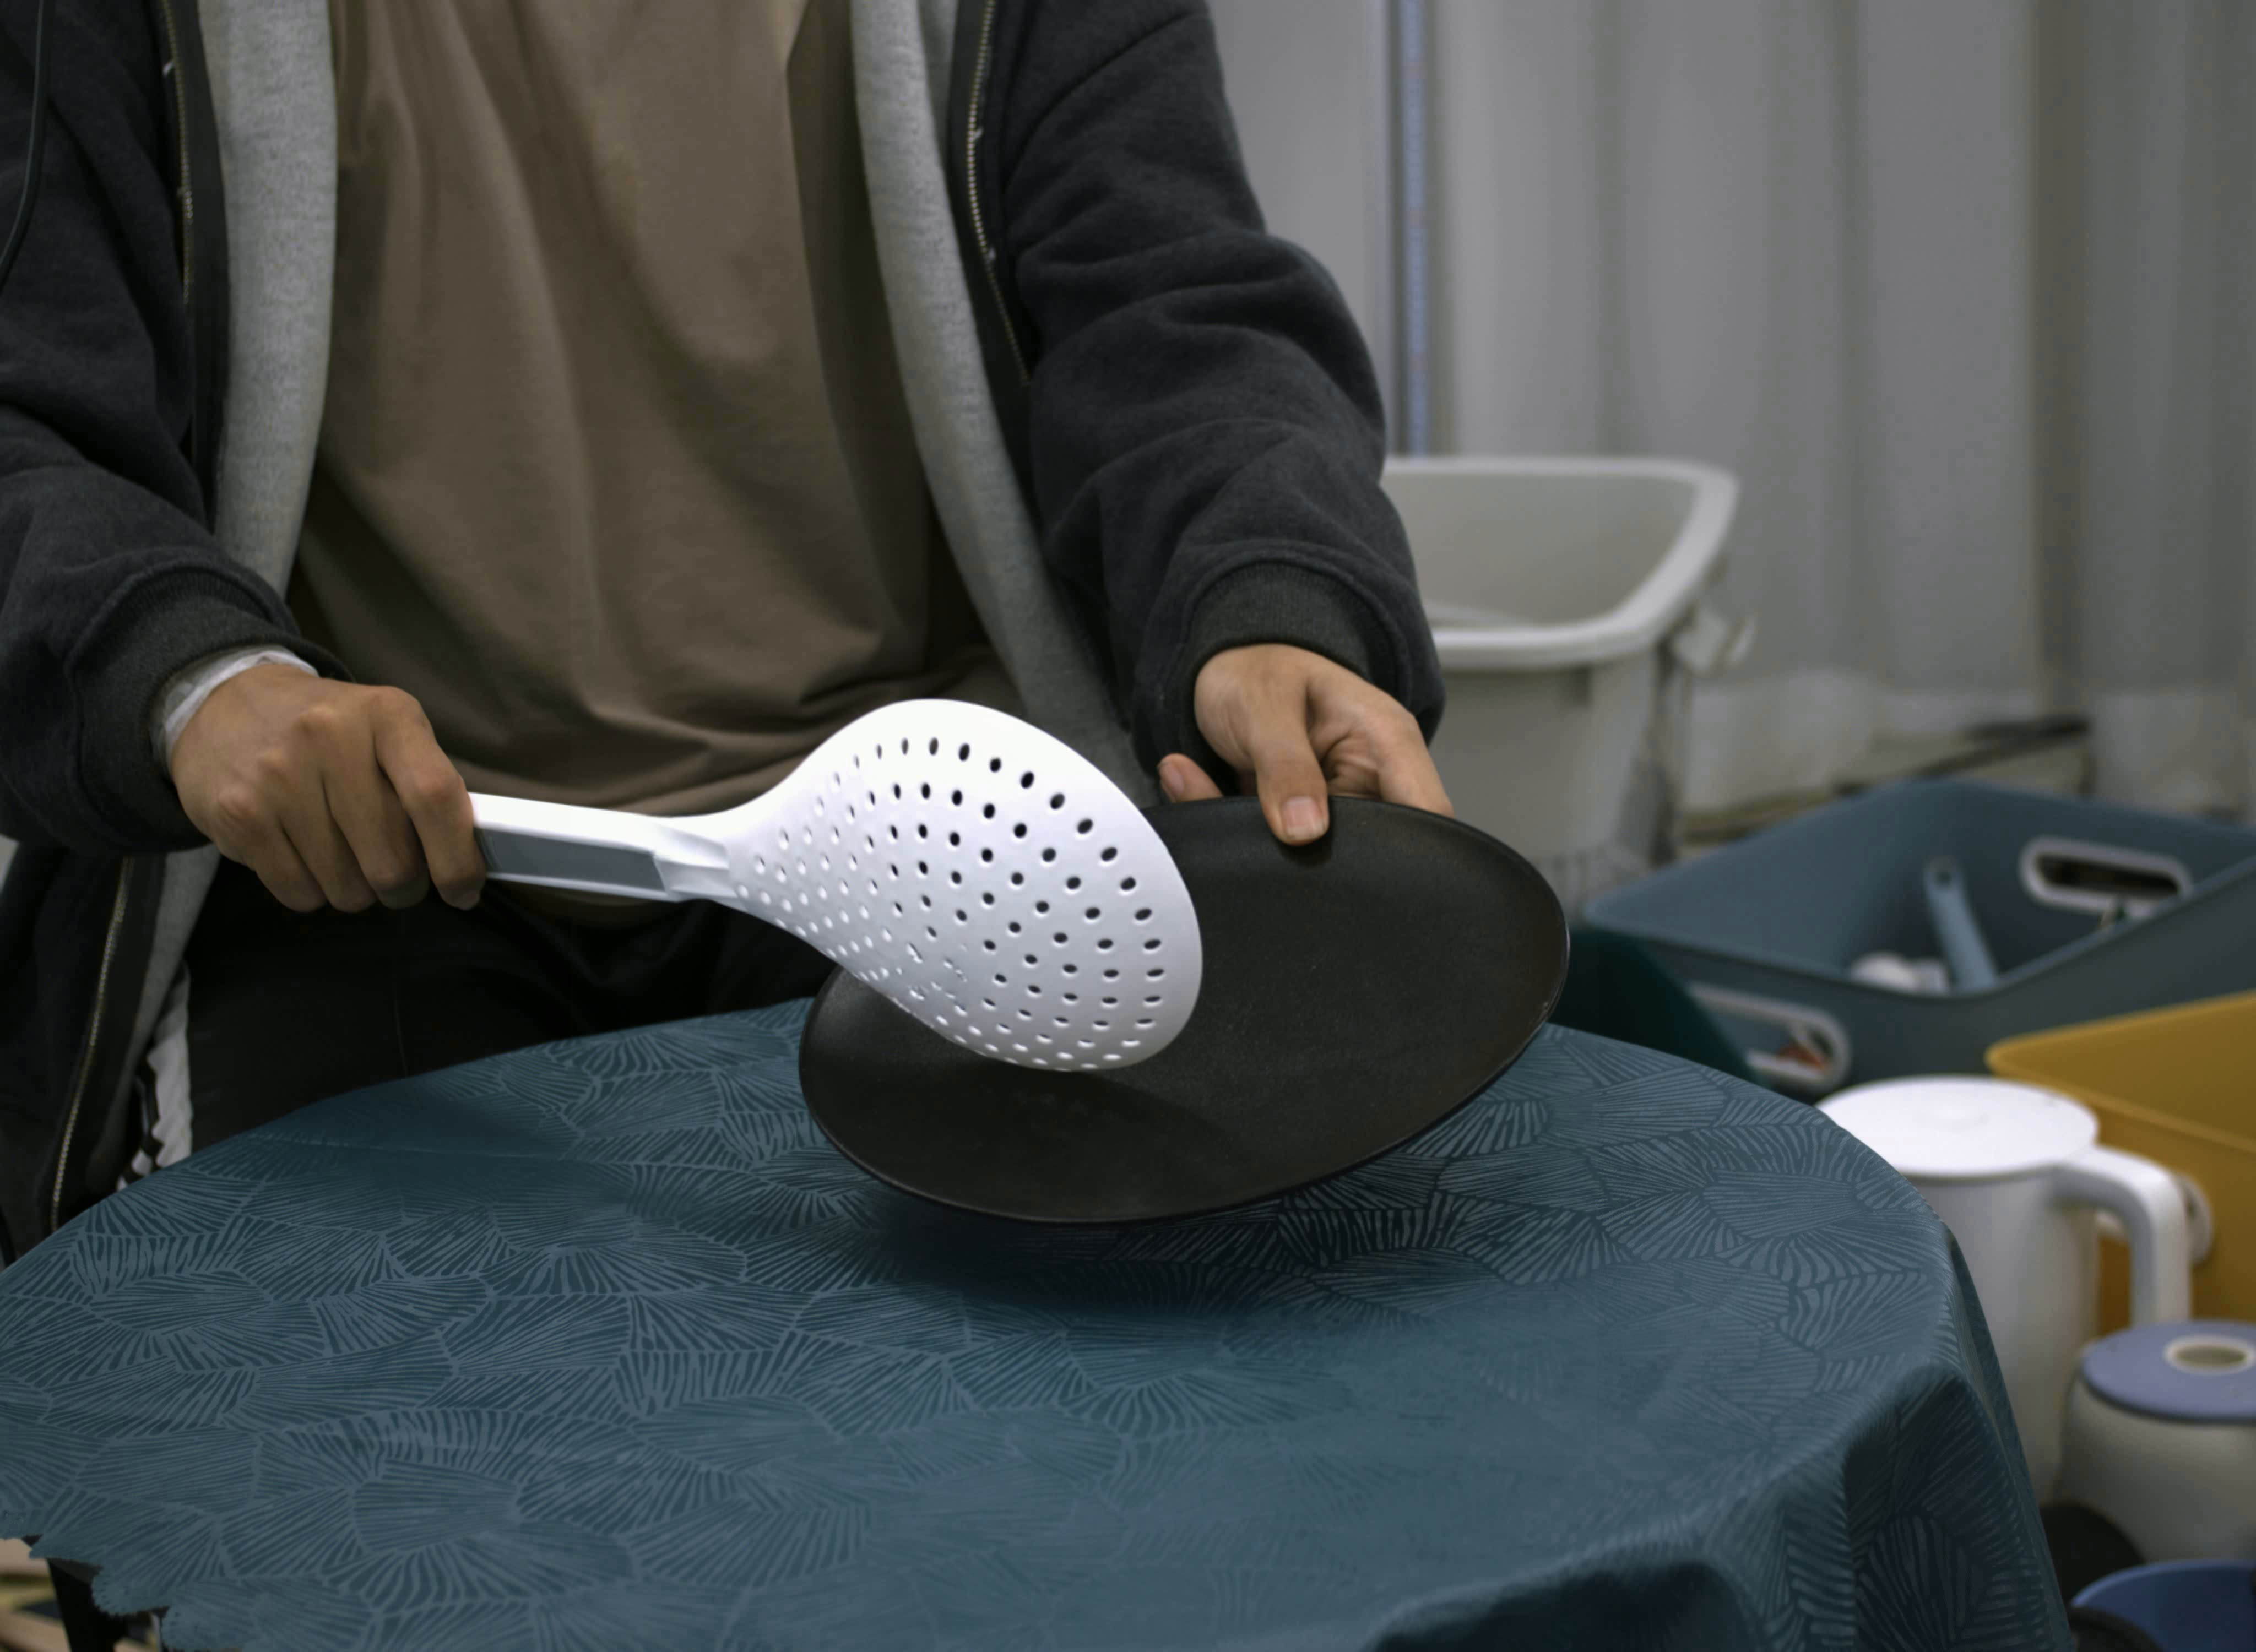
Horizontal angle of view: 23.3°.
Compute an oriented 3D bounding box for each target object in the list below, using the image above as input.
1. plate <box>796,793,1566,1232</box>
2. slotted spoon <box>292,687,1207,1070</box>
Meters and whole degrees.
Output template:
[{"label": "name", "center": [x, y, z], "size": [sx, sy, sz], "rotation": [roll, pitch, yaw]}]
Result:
[{"label": "plate", "center": [0.017, 0.061, 1.699], "size": [0.244, 0.023, 0.247], "rotation": [-9, 29, 5]}, {"label": "slotted spoon", "center": [-0.128, 0.010, 1.714], "size": [0.351, 0.134, 0.046], "rotation": [10, 36, 38]}]
